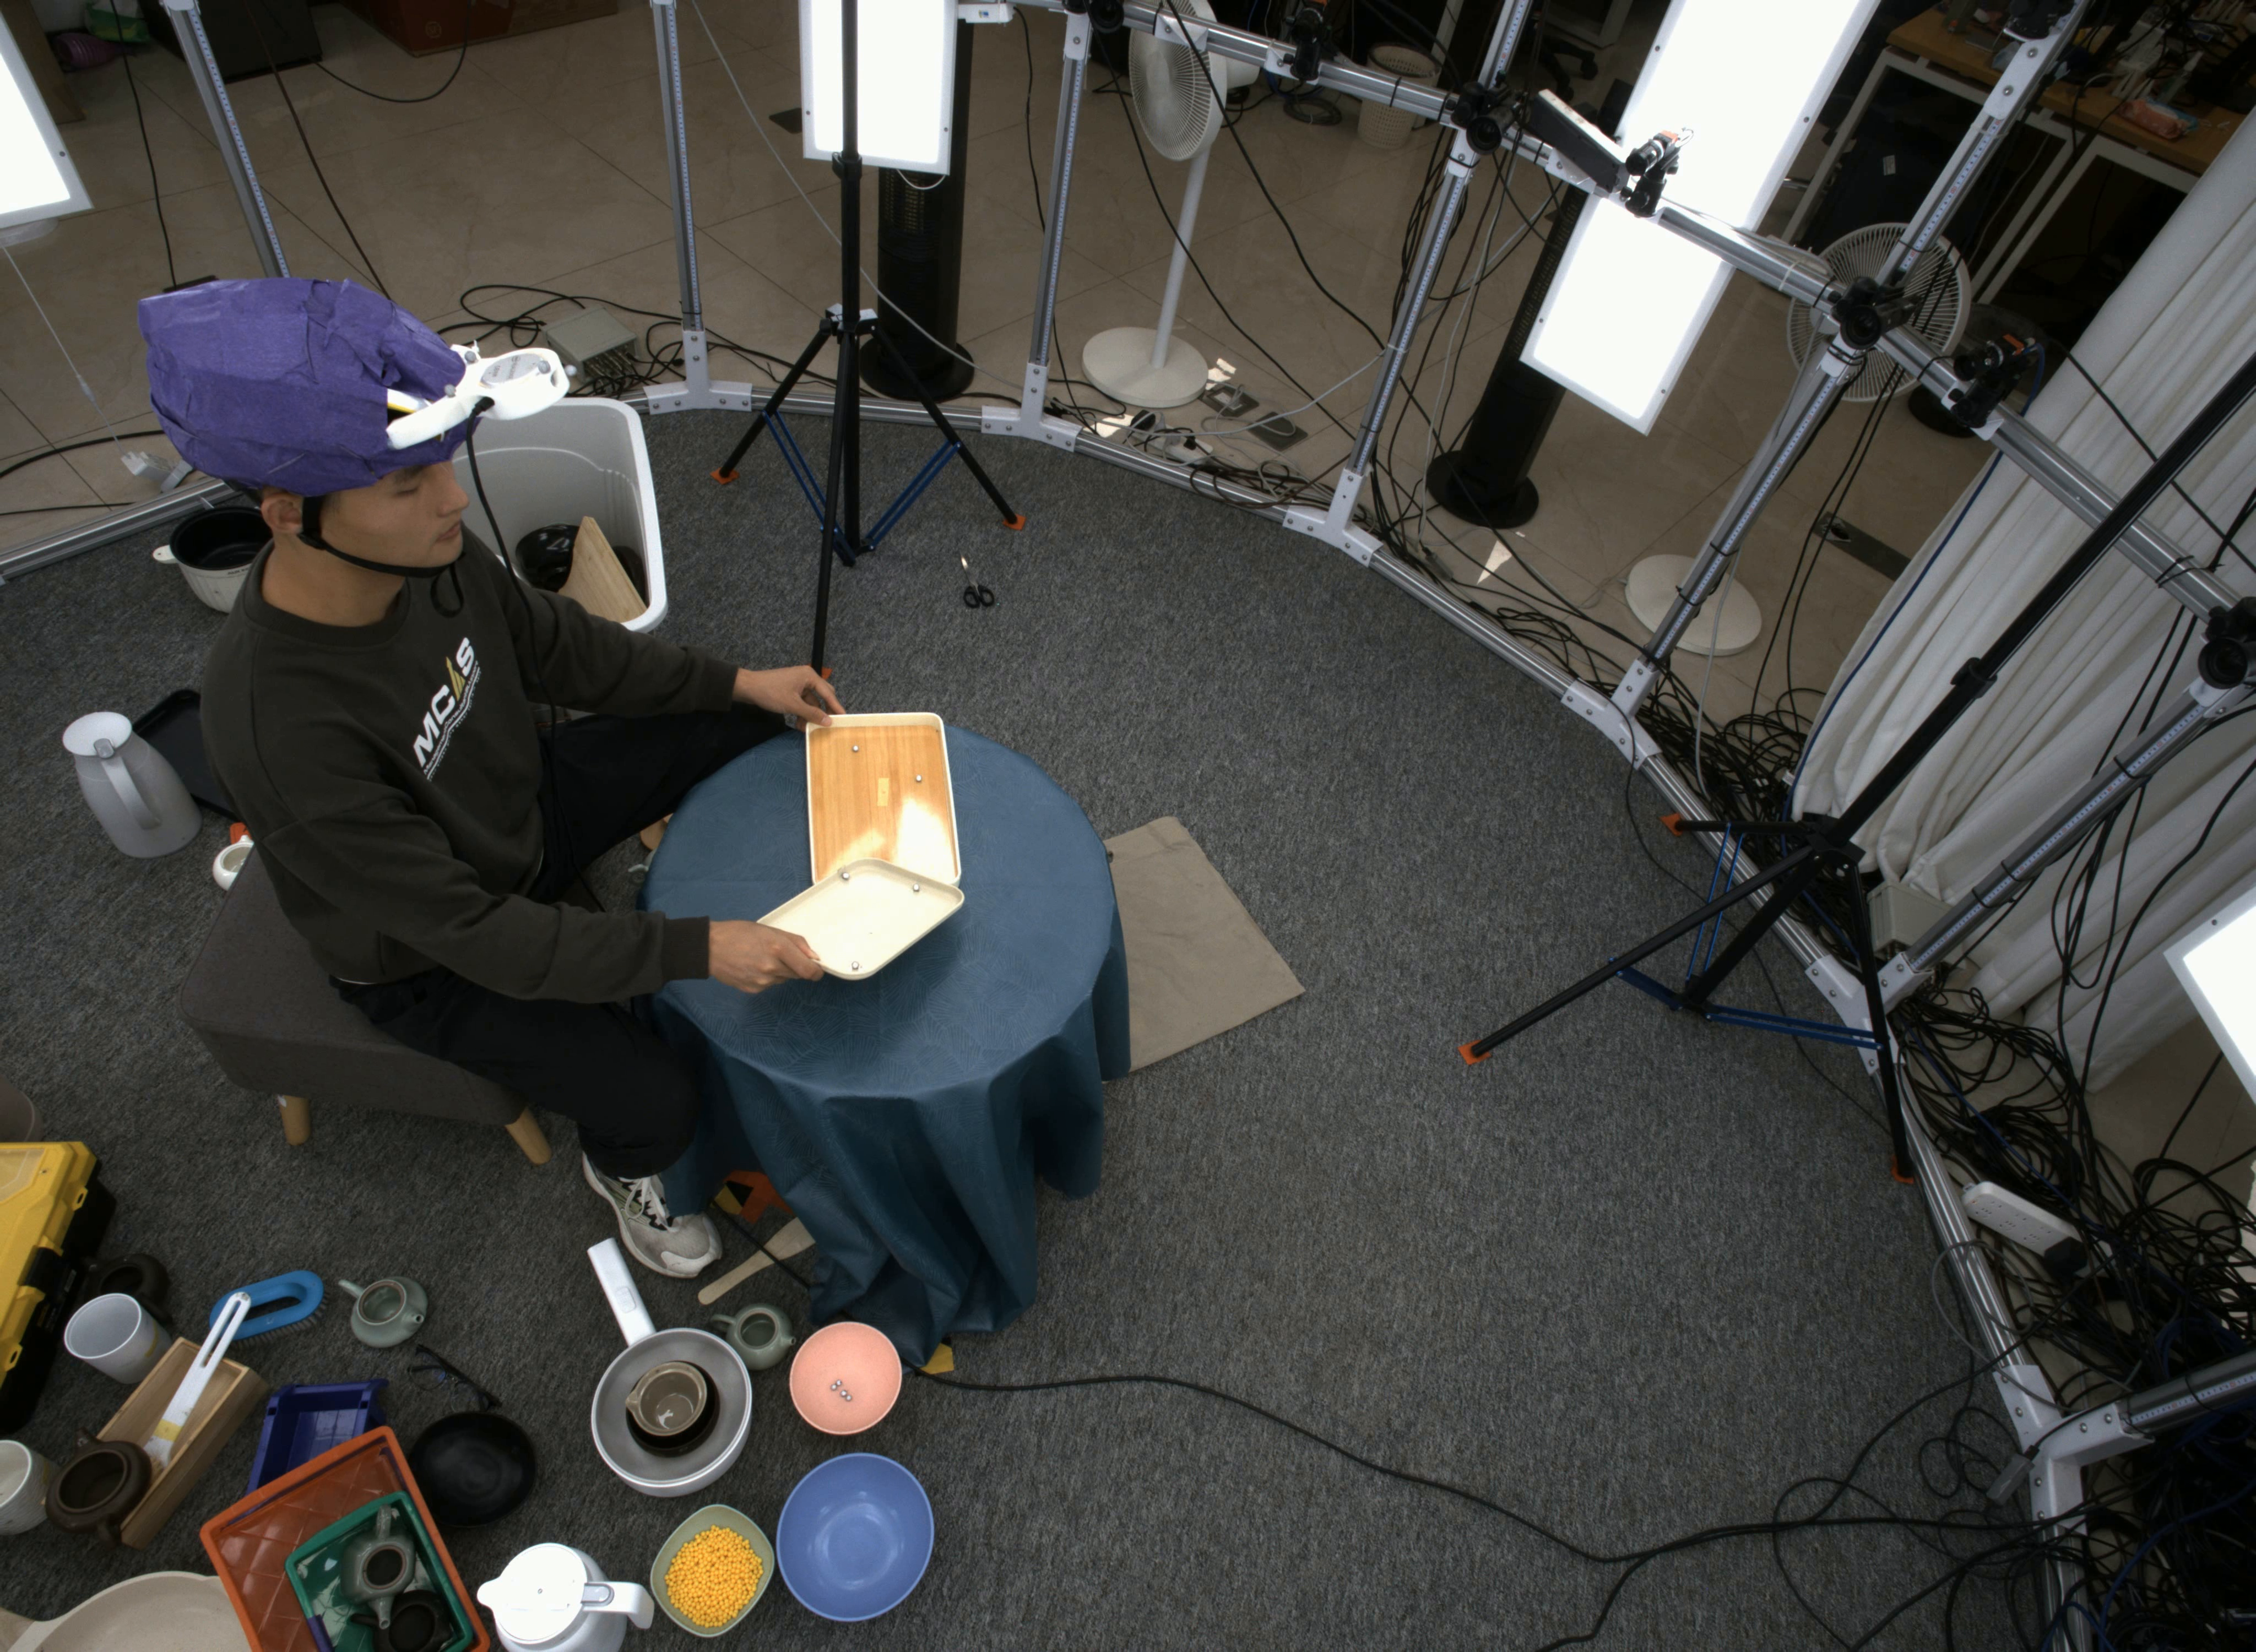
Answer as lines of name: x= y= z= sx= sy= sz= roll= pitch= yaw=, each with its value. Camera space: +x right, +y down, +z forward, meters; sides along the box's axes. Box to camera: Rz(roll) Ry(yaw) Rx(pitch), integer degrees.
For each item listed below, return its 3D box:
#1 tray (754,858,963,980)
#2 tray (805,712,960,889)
tray: x=-0.324 y=0.109 z=1.584 sx=0.166 sy=0.018 sz=0.240 roll=20 pitch=30 yaw=19
tray: x=-0.336 y=-0.033 z=1.764 sx=0.192 sy=0.028 sz=0.293 roll=-3 pitch=54 yaw=-14
